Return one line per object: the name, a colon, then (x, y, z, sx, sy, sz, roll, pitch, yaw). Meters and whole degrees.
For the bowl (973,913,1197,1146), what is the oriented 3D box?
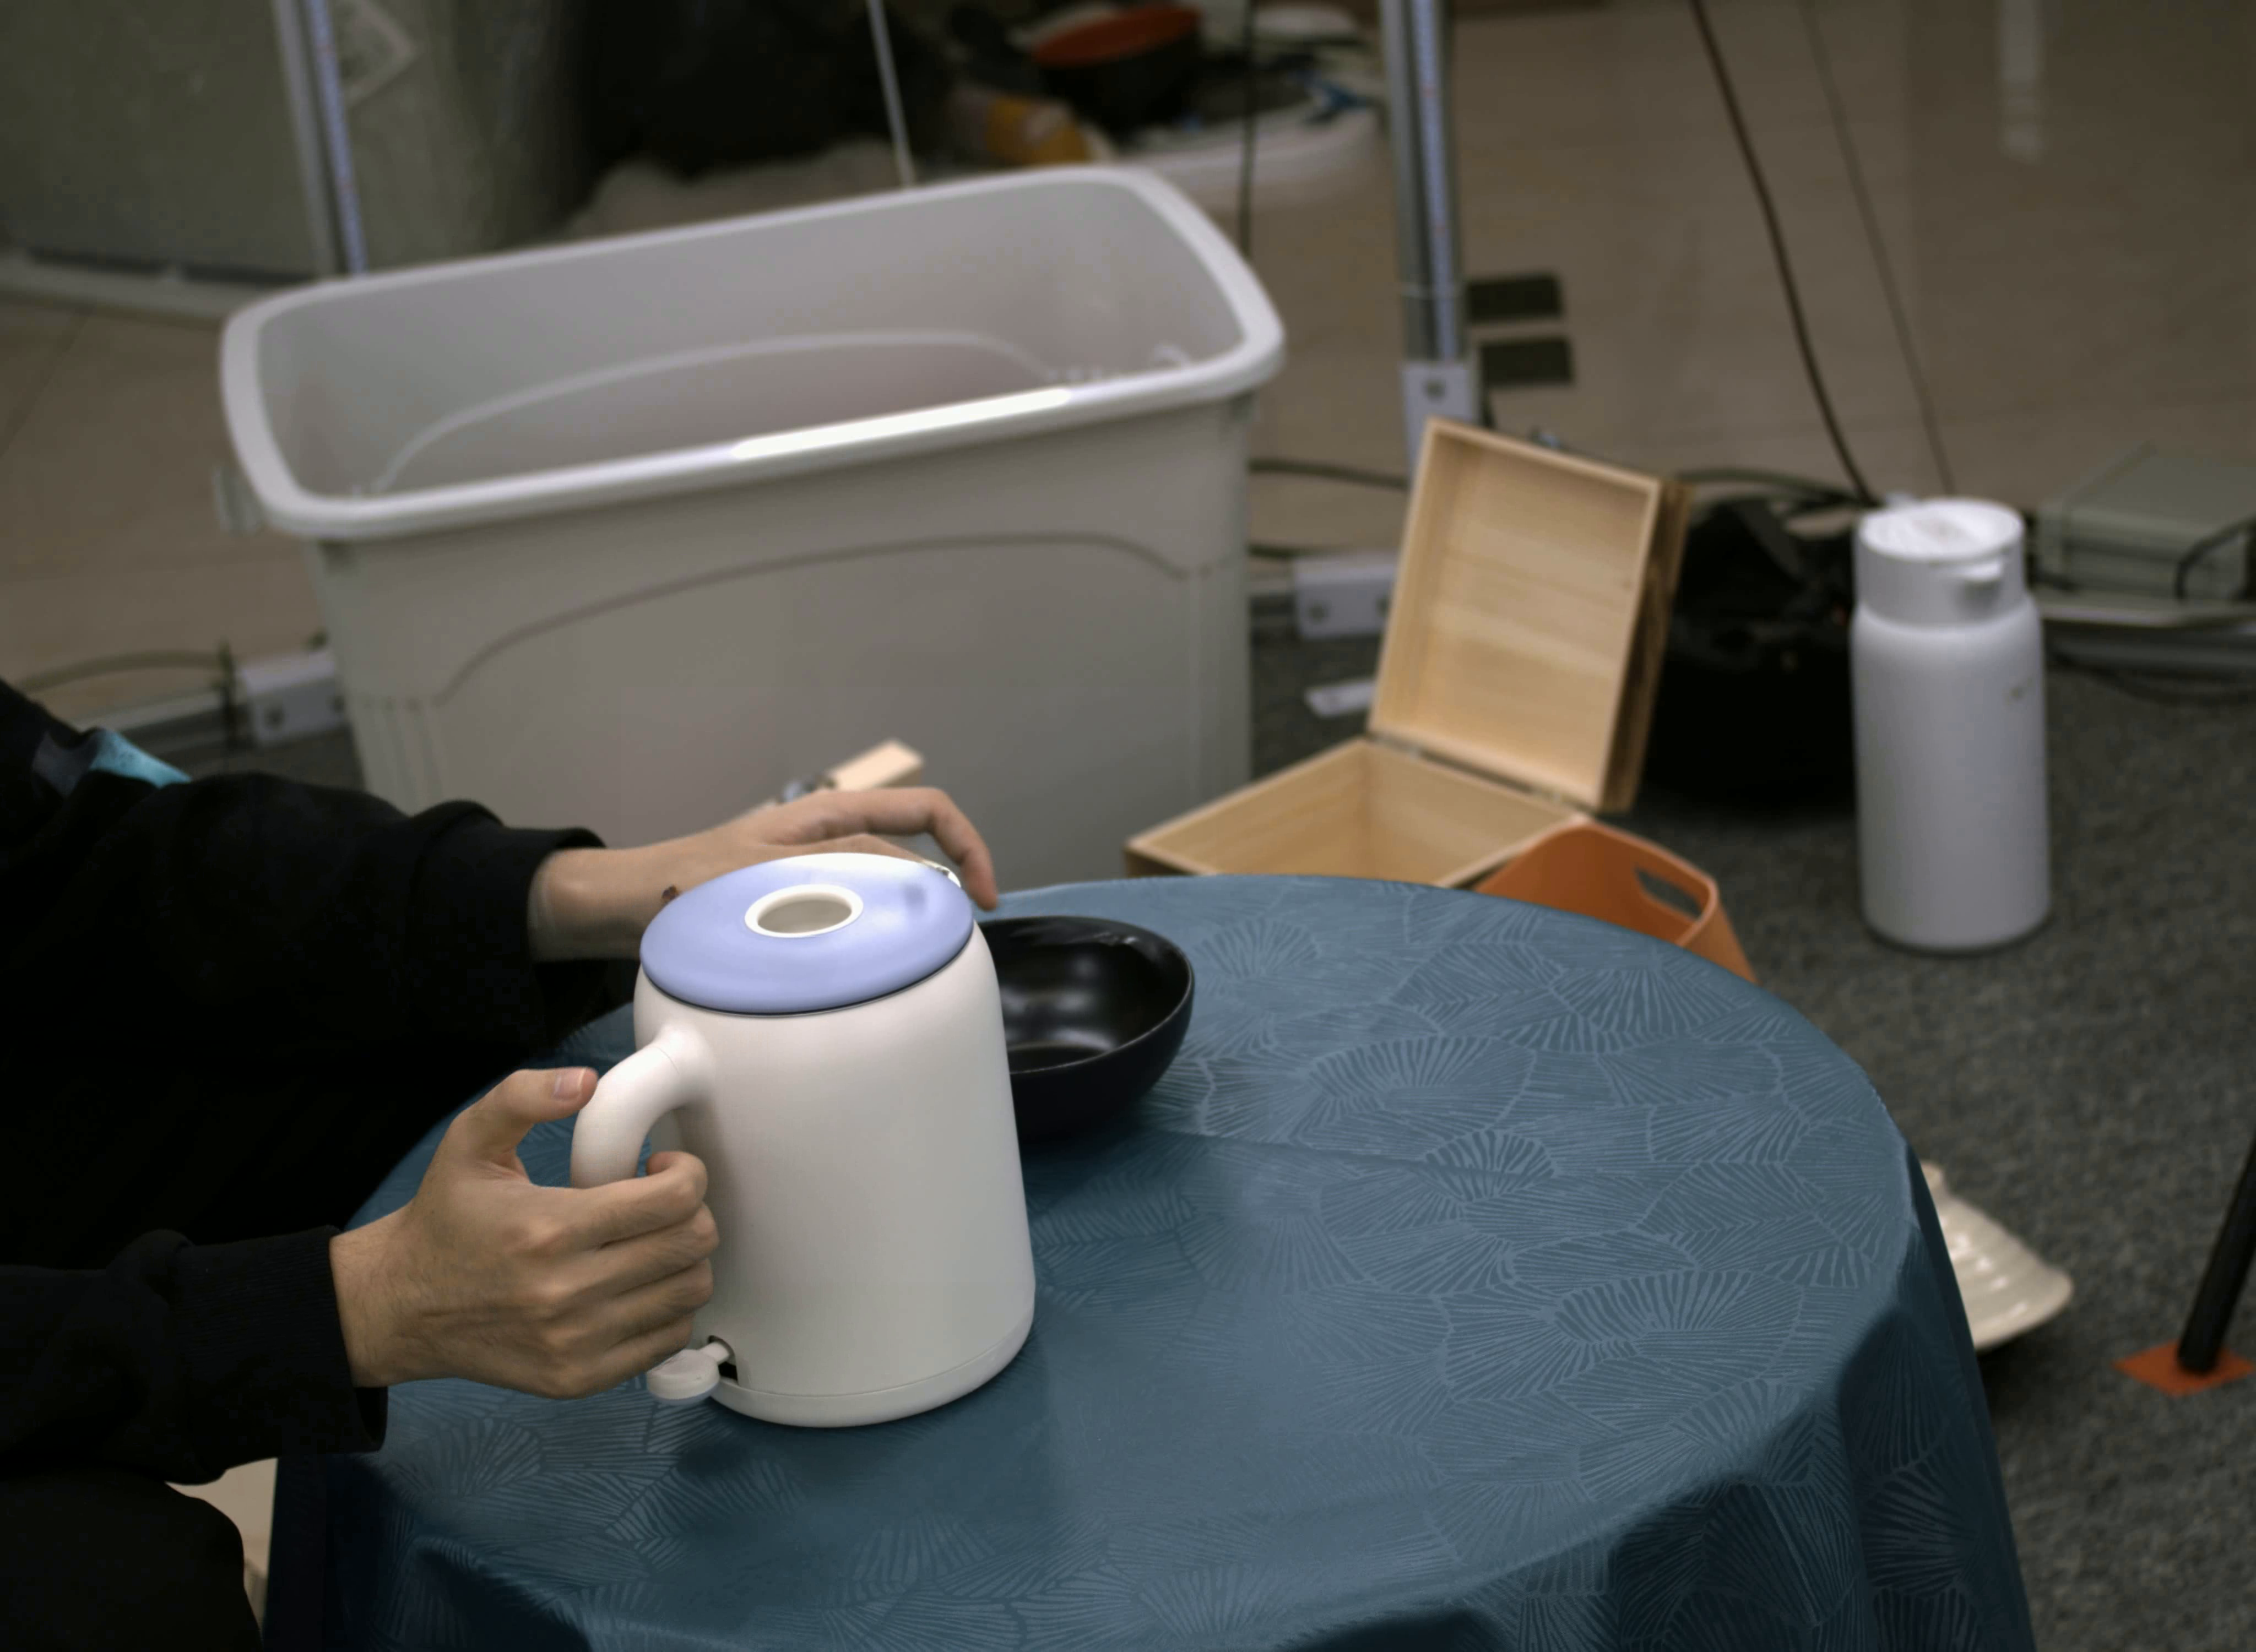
bowl: (-0.040, 0.086, 2.209, 0.140, 0.050, 0.138, -7, 26, 3)

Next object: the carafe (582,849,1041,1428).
carafe: (-0.121, 0.120, 2.009, 0.131, 0.185, 0.189, 16, 36, 41)
